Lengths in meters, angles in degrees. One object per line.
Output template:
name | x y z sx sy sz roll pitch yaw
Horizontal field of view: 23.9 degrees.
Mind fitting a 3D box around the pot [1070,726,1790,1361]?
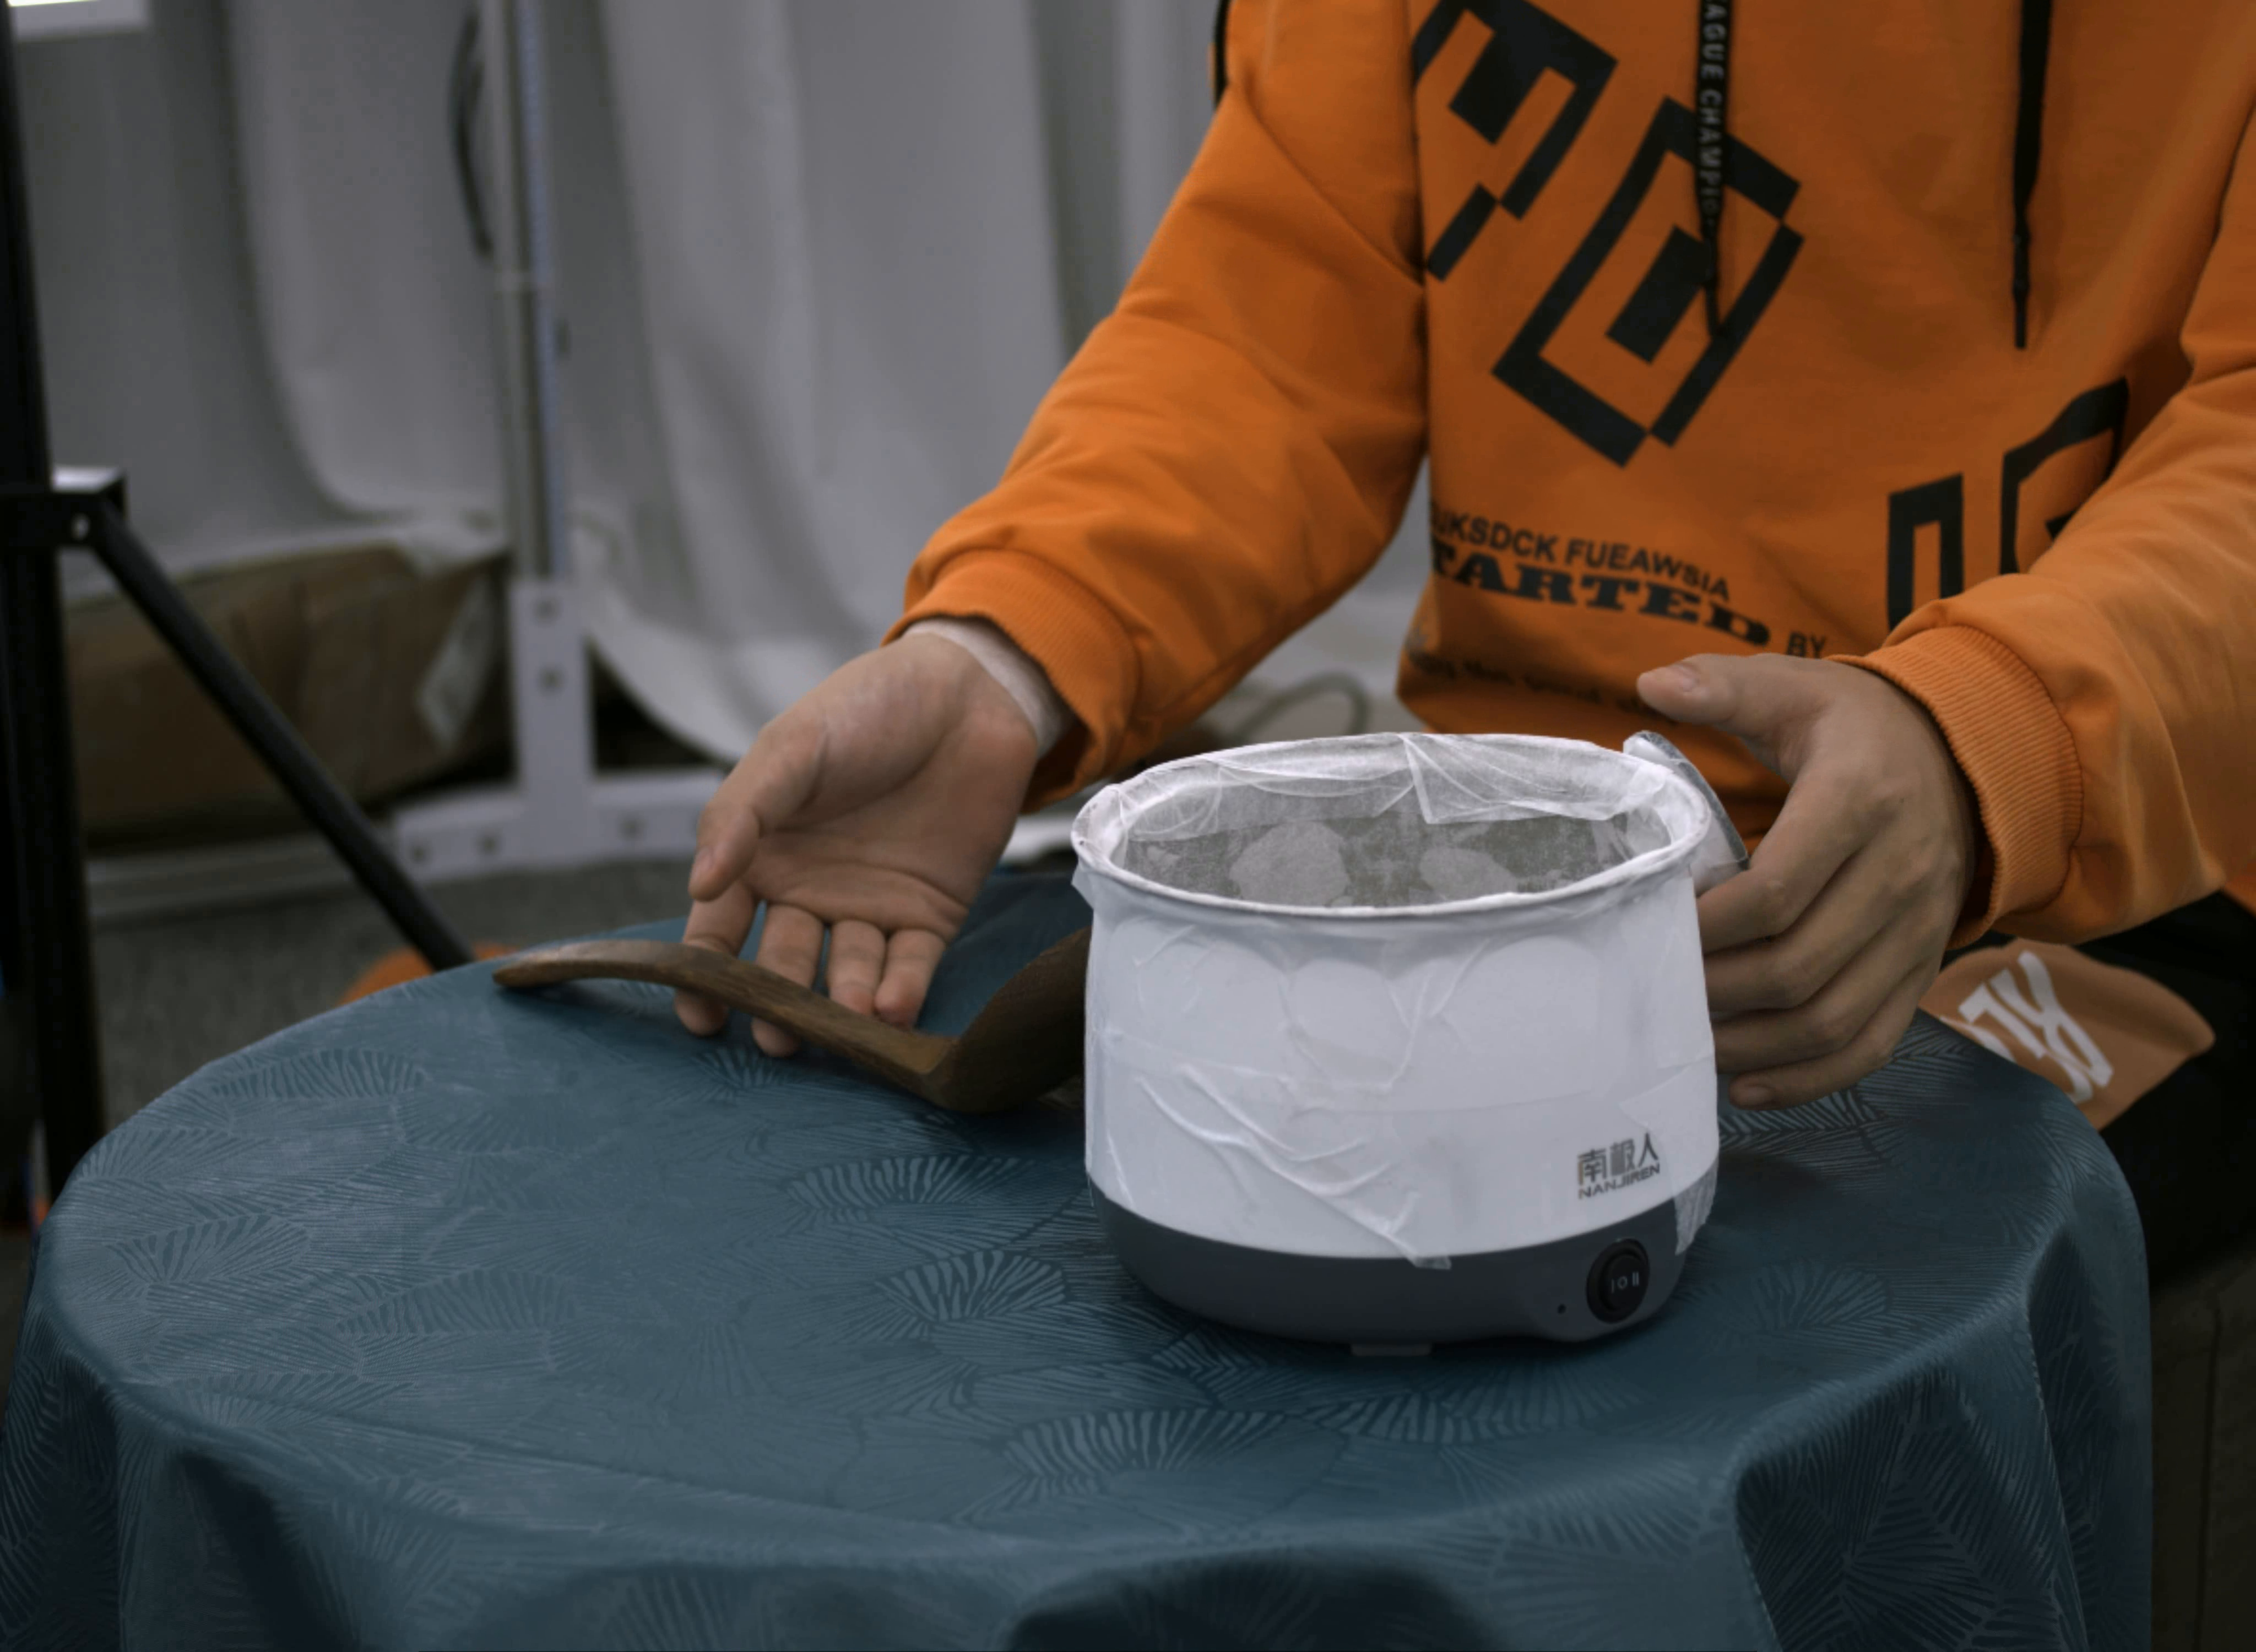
pot | 0.095 0.053 1.485 0.228 0.136 0.183 -16 21 -38

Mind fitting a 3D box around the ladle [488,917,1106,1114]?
ladle | -0.107 0.040 1.687 0.280 0.071 0.074 13 20 43
